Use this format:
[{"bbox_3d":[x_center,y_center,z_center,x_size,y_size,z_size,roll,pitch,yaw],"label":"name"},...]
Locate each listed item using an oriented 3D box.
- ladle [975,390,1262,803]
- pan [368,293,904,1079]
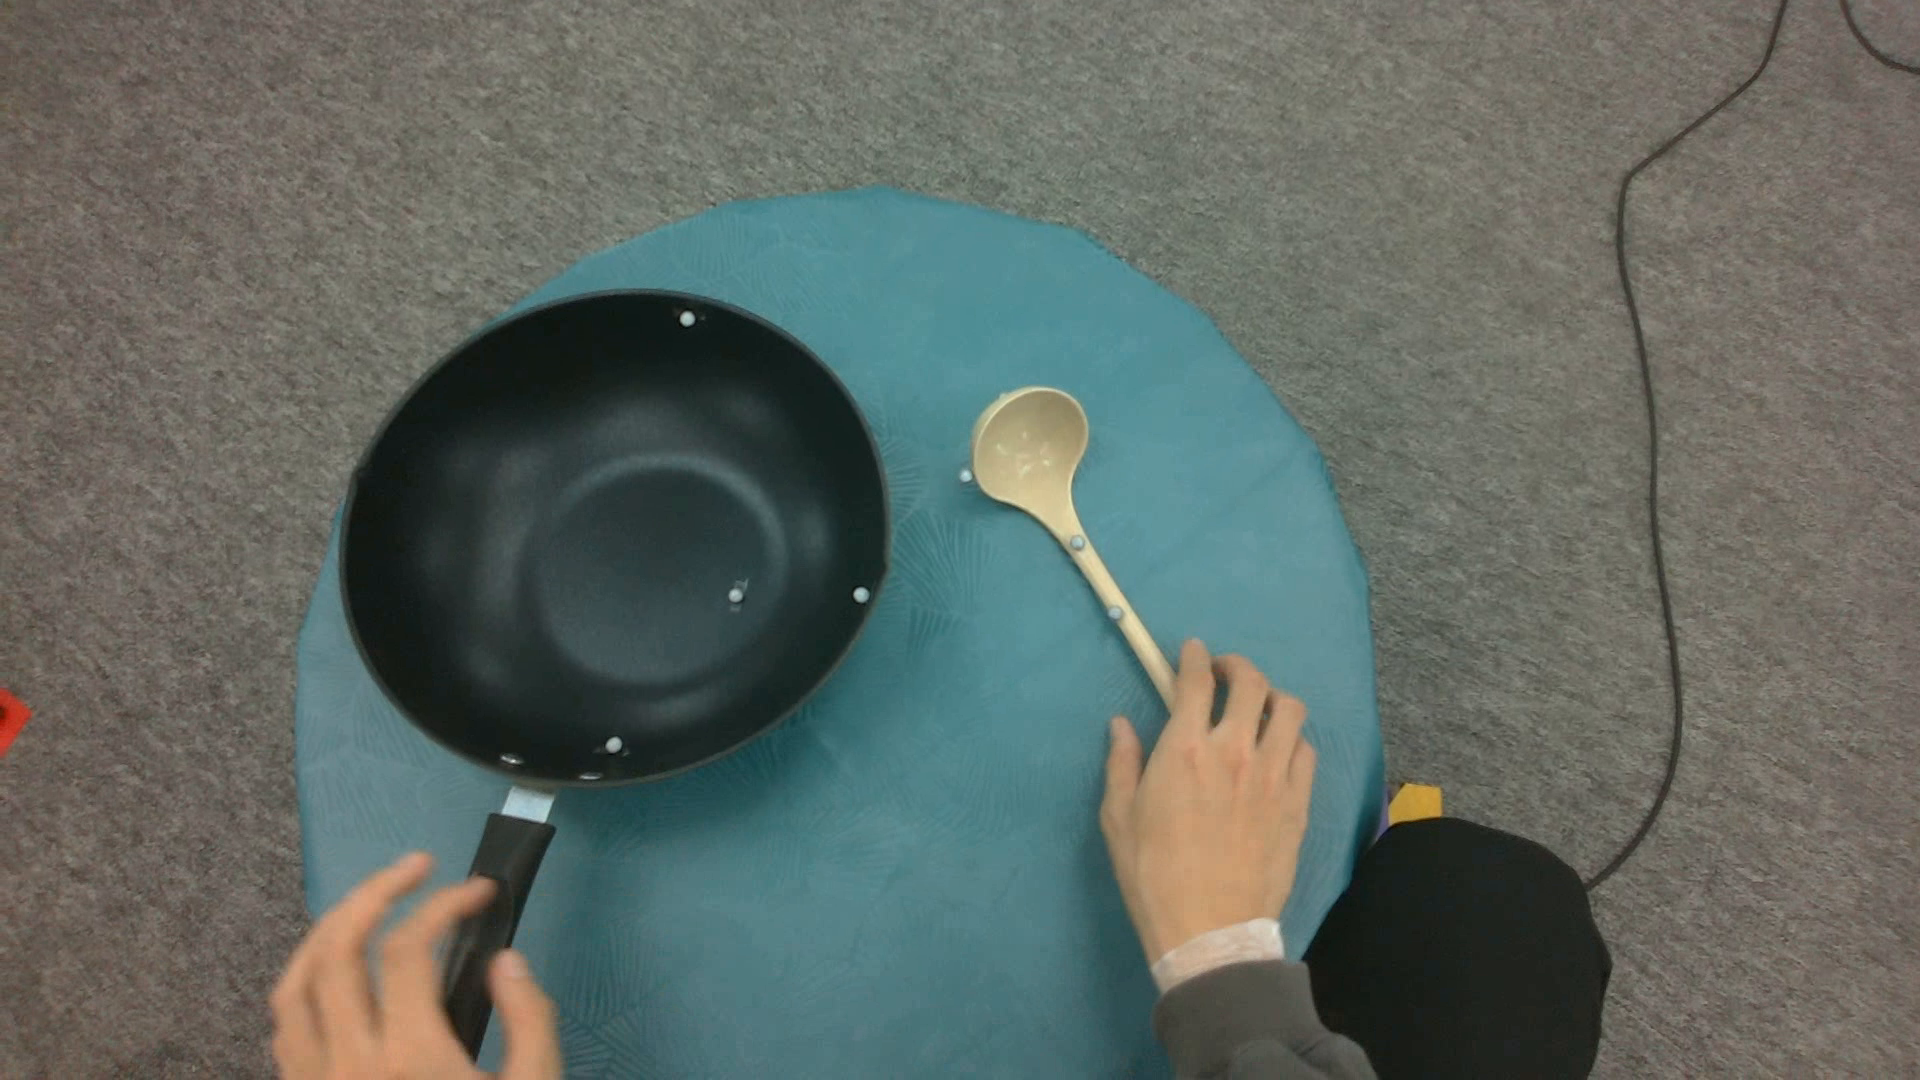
[{"bbox_3d":[0.095,0.027,0.752,0.072,0.072,0.255,-28,70,-15],"label":"ladle"},{"bbox_3d":[-0.191,0.089,0.729,0.288,0.086,0.465,11,70,6],"label":"pan"}]
